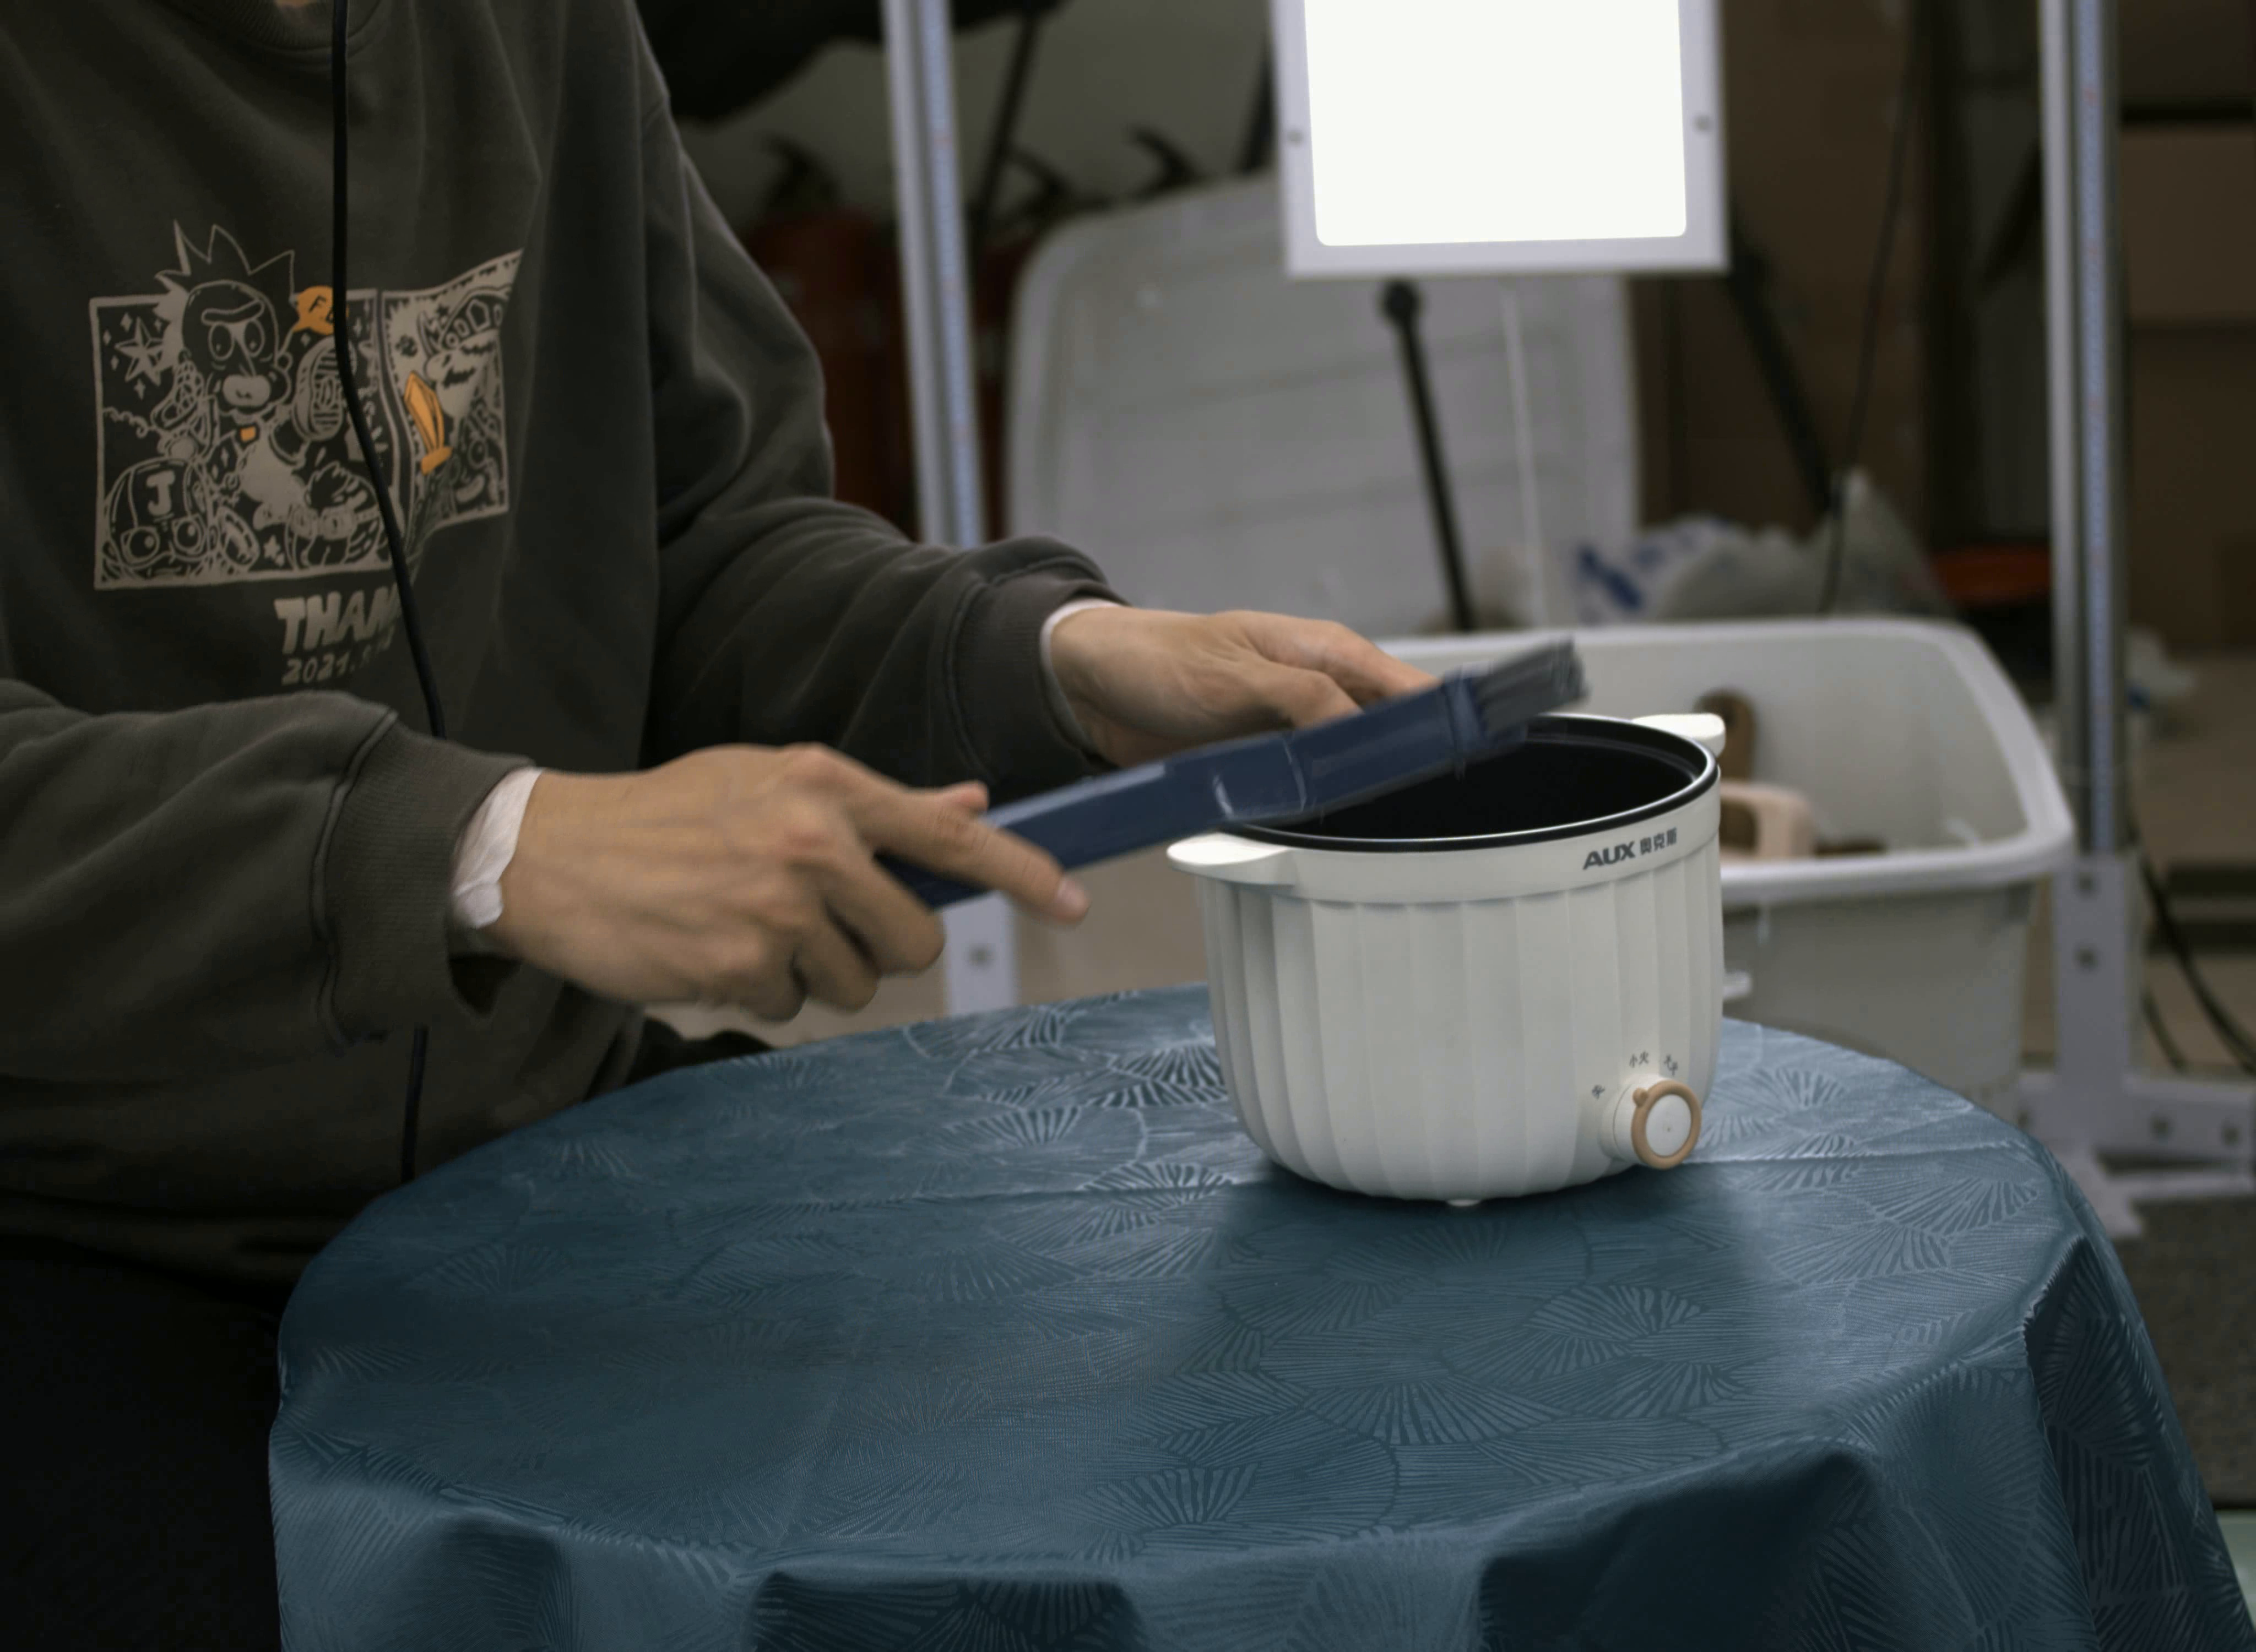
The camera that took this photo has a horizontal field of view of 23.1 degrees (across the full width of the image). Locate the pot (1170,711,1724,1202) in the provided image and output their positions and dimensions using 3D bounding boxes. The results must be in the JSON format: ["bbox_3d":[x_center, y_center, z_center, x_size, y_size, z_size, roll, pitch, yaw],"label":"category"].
[{"bbox_3d":[0.121,0.046,1.887,0.234,0.143,0.194,-16,14,-34],"label":"pot"}]

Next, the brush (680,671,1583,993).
[{"bbox_3d":[0.000,-0.002,1.689,0.270,0.033,0.096,-14,-8,-12],"label":"brush"}]
